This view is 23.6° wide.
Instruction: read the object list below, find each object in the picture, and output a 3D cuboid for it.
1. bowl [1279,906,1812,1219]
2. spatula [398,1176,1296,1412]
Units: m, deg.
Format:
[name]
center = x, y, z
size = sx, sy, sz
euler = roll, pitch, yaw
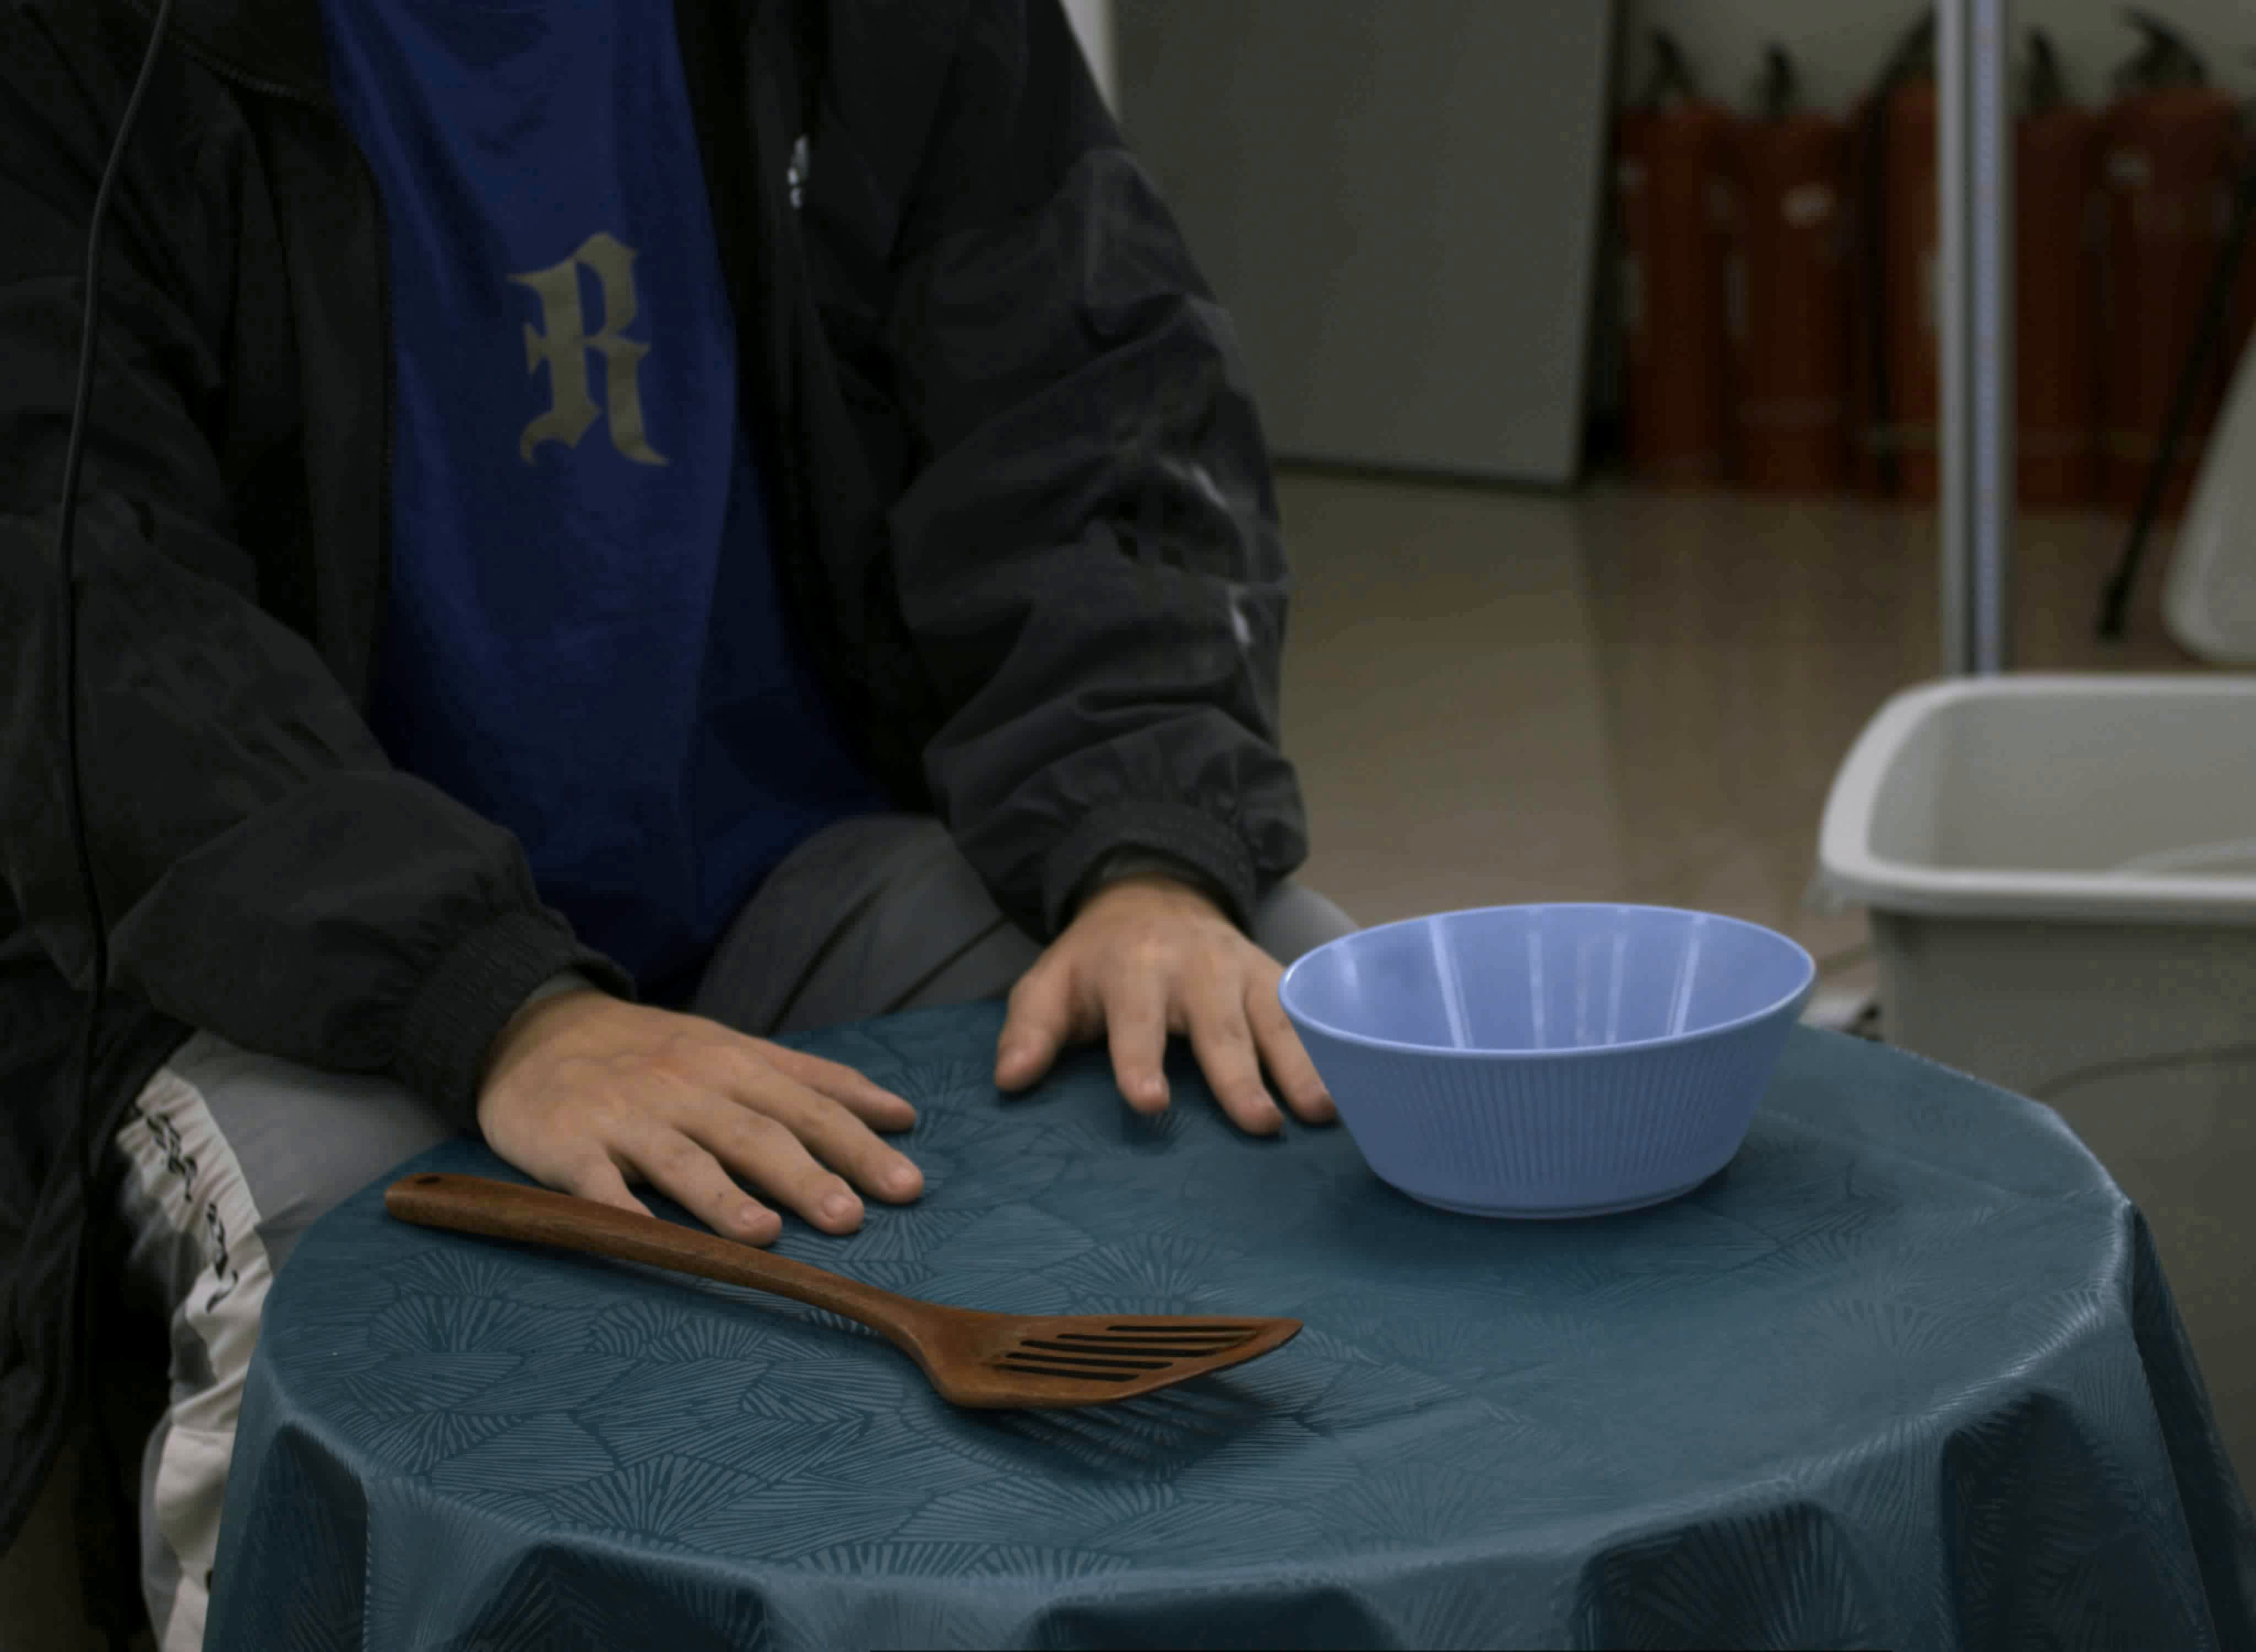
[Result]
[bowl]
center = 0.137, 0.079, 1.754
size = 0.174, 0.071, 0.176
euler = -4, 13, 0
[spatula]
center = -0.105, 0.143, 1.670
size = 0.084, 0.024, 0.390
euler = -15, 16, -42
